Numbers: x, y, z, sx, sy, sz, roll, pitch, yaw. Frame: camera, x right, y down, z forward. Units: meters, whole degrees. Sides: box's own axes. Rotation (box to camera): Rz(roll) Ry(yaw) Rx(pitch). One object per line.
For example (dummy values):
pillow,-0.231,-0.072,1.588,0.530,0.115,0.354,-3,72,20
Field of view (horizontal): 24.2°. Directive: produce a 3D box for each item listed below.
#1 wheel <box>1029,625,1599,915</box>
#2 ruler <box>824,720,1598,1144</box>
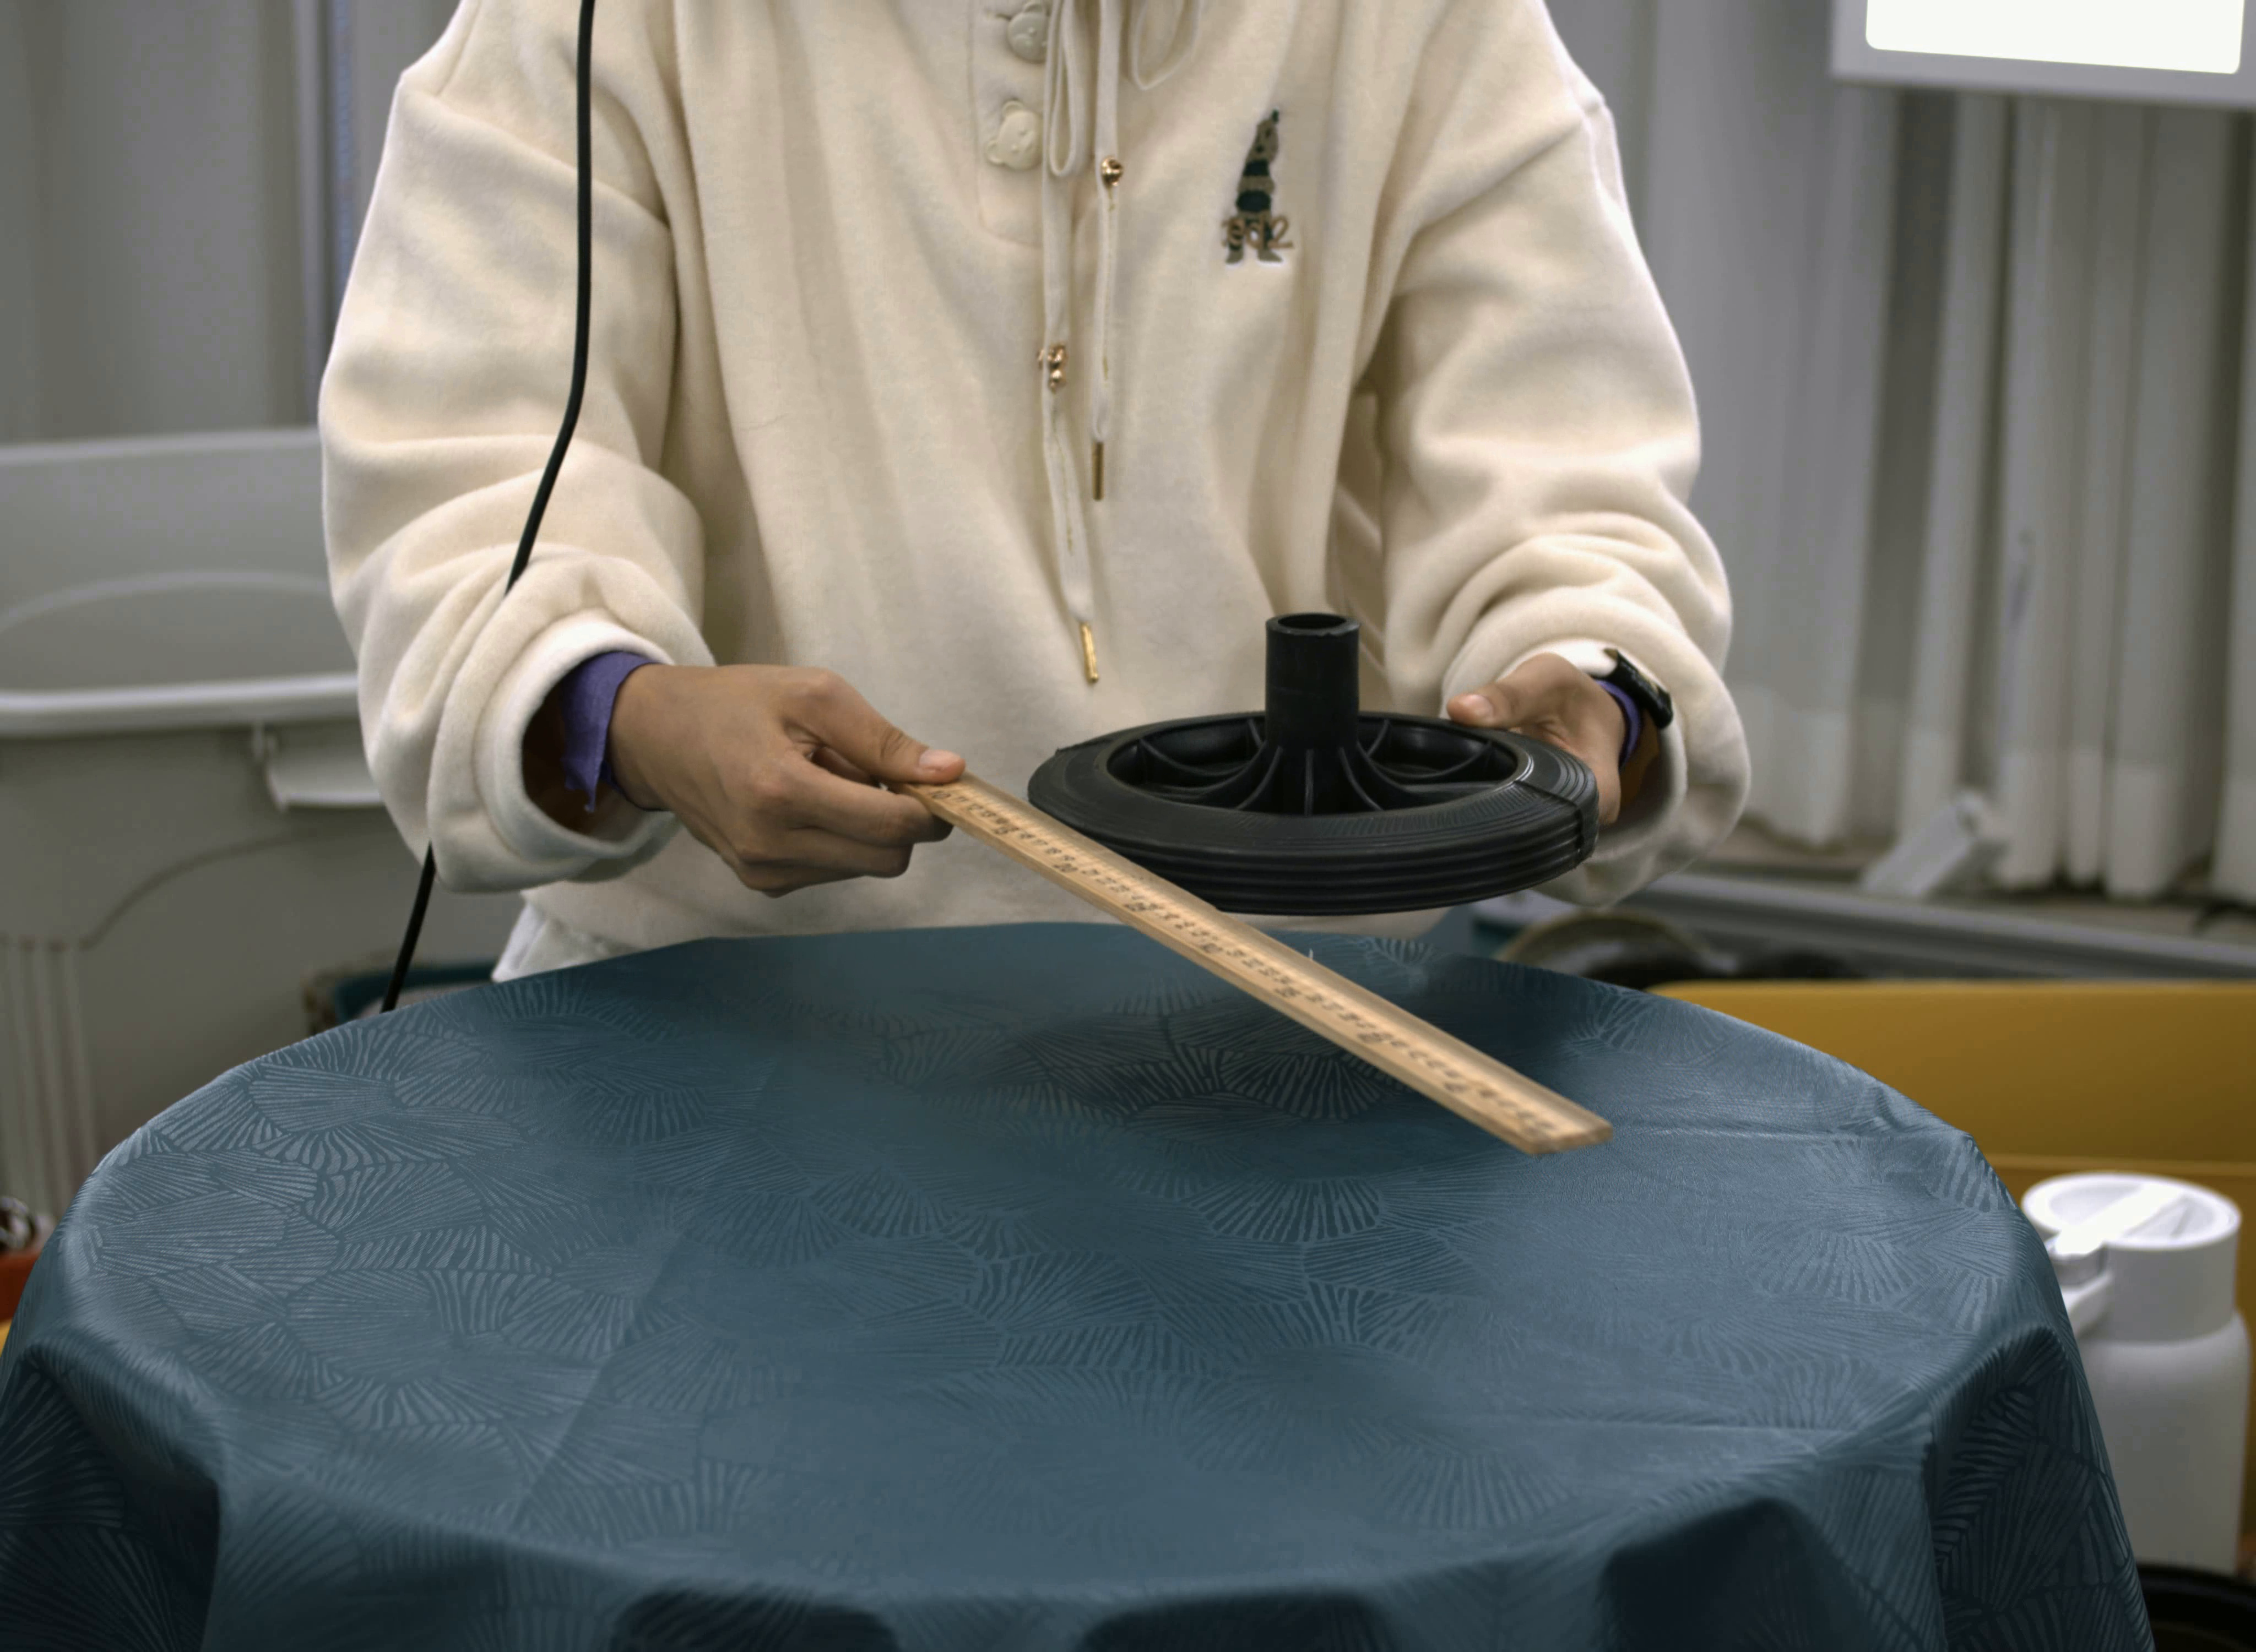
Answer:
wheel,0.062,-0.024,1.727,0.190,0.080,0.185,-8,17,-29
ruler,0.009,0.024,1.596,0.027,0.006,0.494,-11,18,-23
